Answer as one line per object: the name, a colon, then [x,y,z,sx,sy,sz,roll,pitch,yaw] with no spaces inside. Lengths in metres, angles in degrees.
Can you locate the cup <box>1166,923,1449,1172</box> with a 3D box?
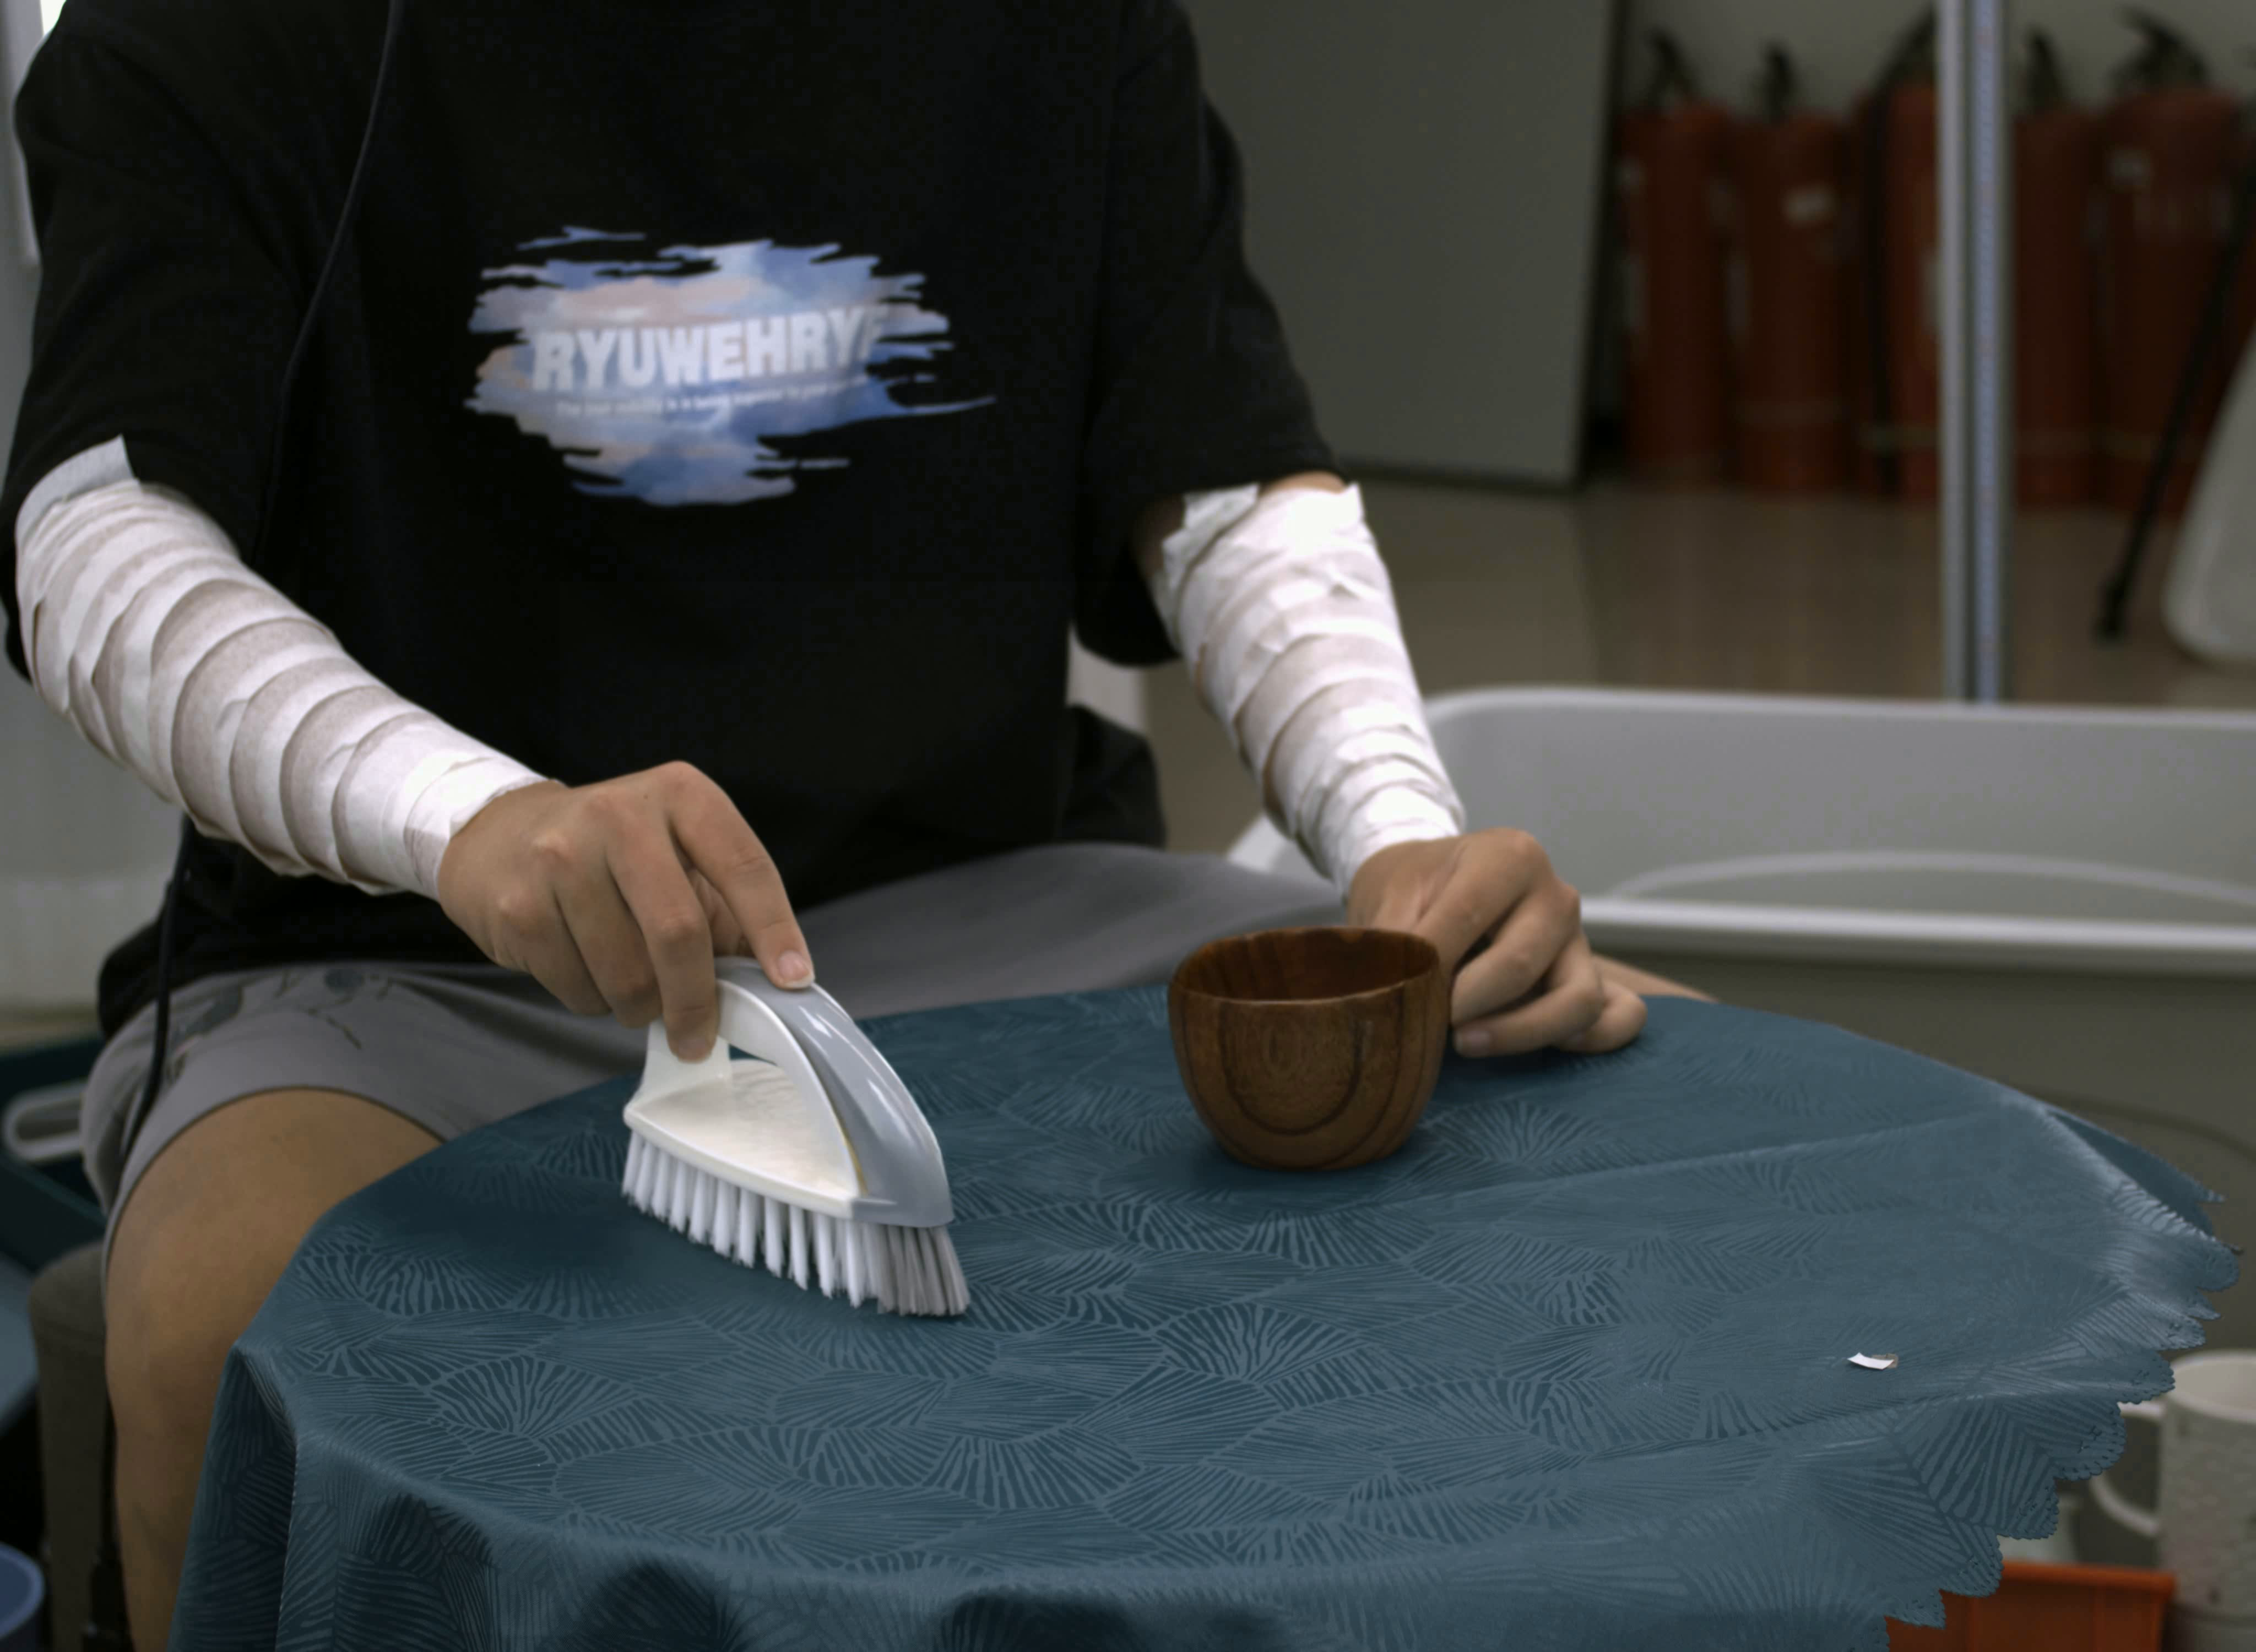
cup: [0.066,0.073,1.811,0.096,0.068,0.118,-1,12,22]

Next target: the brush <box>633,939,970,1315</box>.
brush: [-0.101,0.091,1.719,0.060,0.095,0.177,-19,24,-27]
